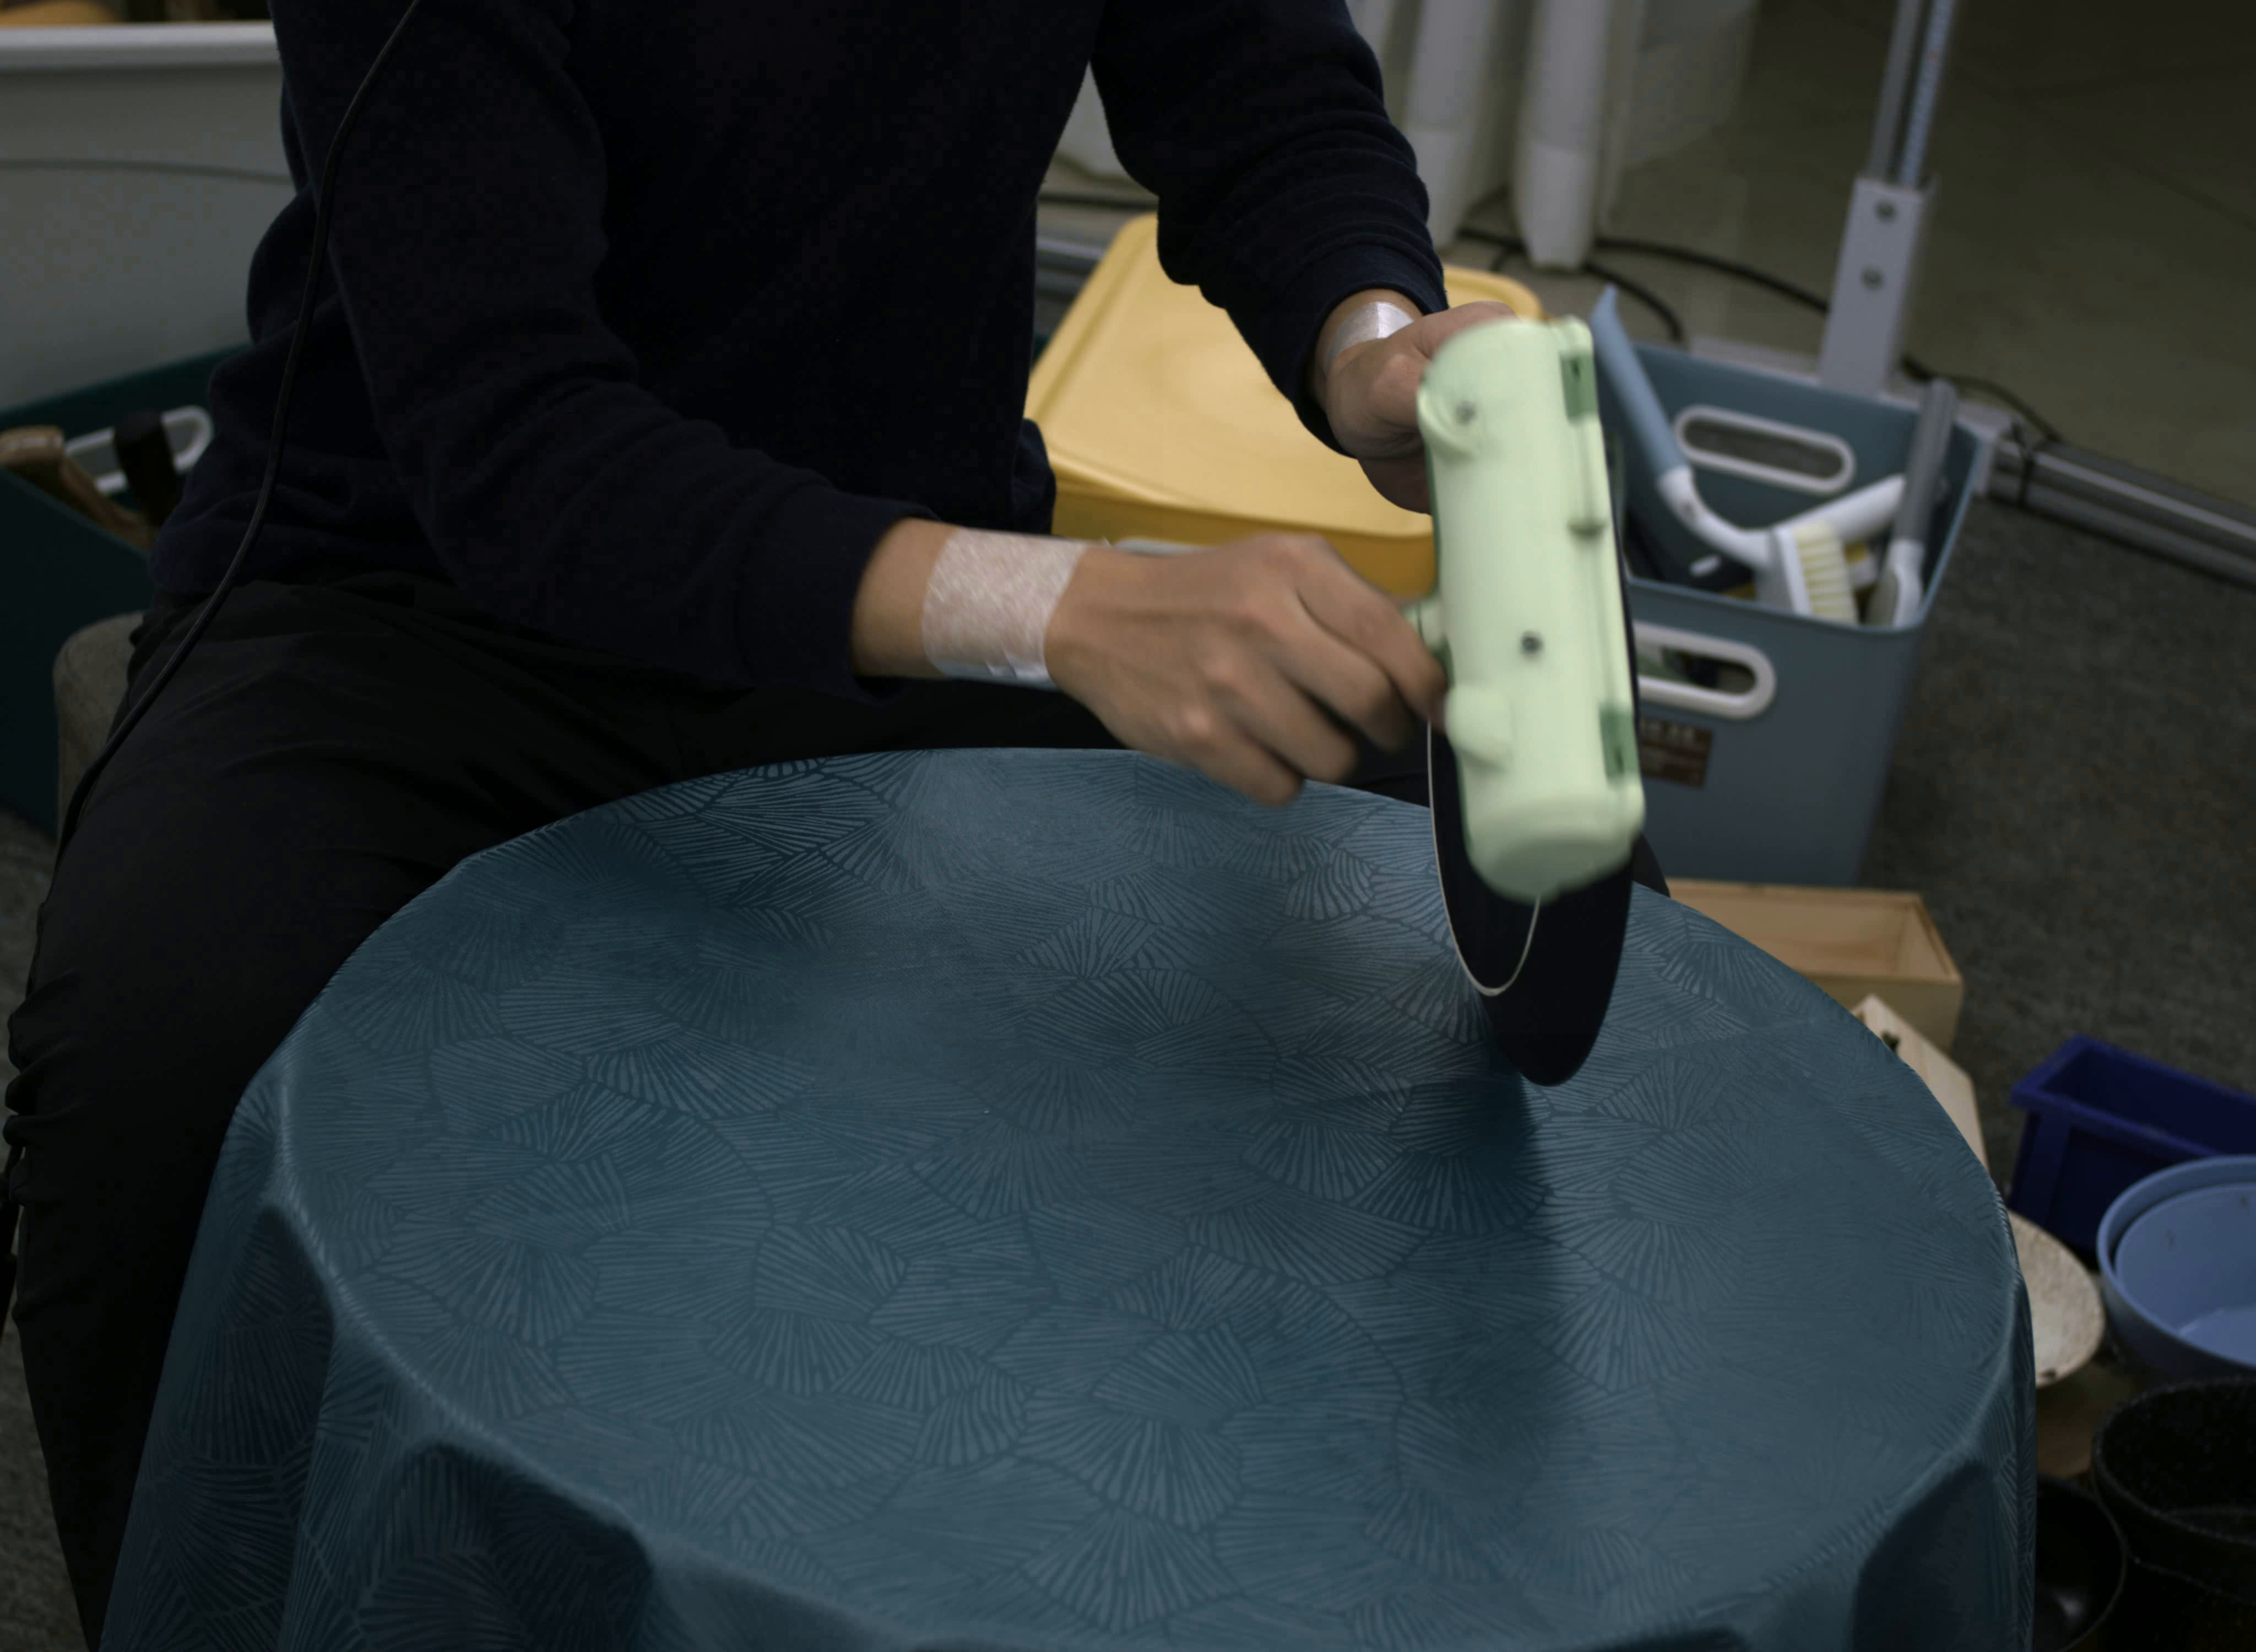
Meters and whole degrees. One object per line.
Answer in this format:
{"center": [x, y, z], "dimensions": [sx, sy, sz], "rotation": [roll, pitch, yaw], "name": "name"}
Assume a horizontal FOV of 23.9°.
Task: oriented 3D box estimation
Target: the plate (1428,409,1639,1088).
{"center": [0.137, -0.030, 1.866], "dimensions": [0.023, 0.243, 0.246], "rotation": [0, 28, -10], "name": "plate"}

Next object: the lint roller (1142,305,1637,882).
{"center": [0.075, -0.068, 1.776], "dimensions": [0.183, 0.081, 0.200], "rotation": [-16, 59, 20], "name": "lint roller"}
